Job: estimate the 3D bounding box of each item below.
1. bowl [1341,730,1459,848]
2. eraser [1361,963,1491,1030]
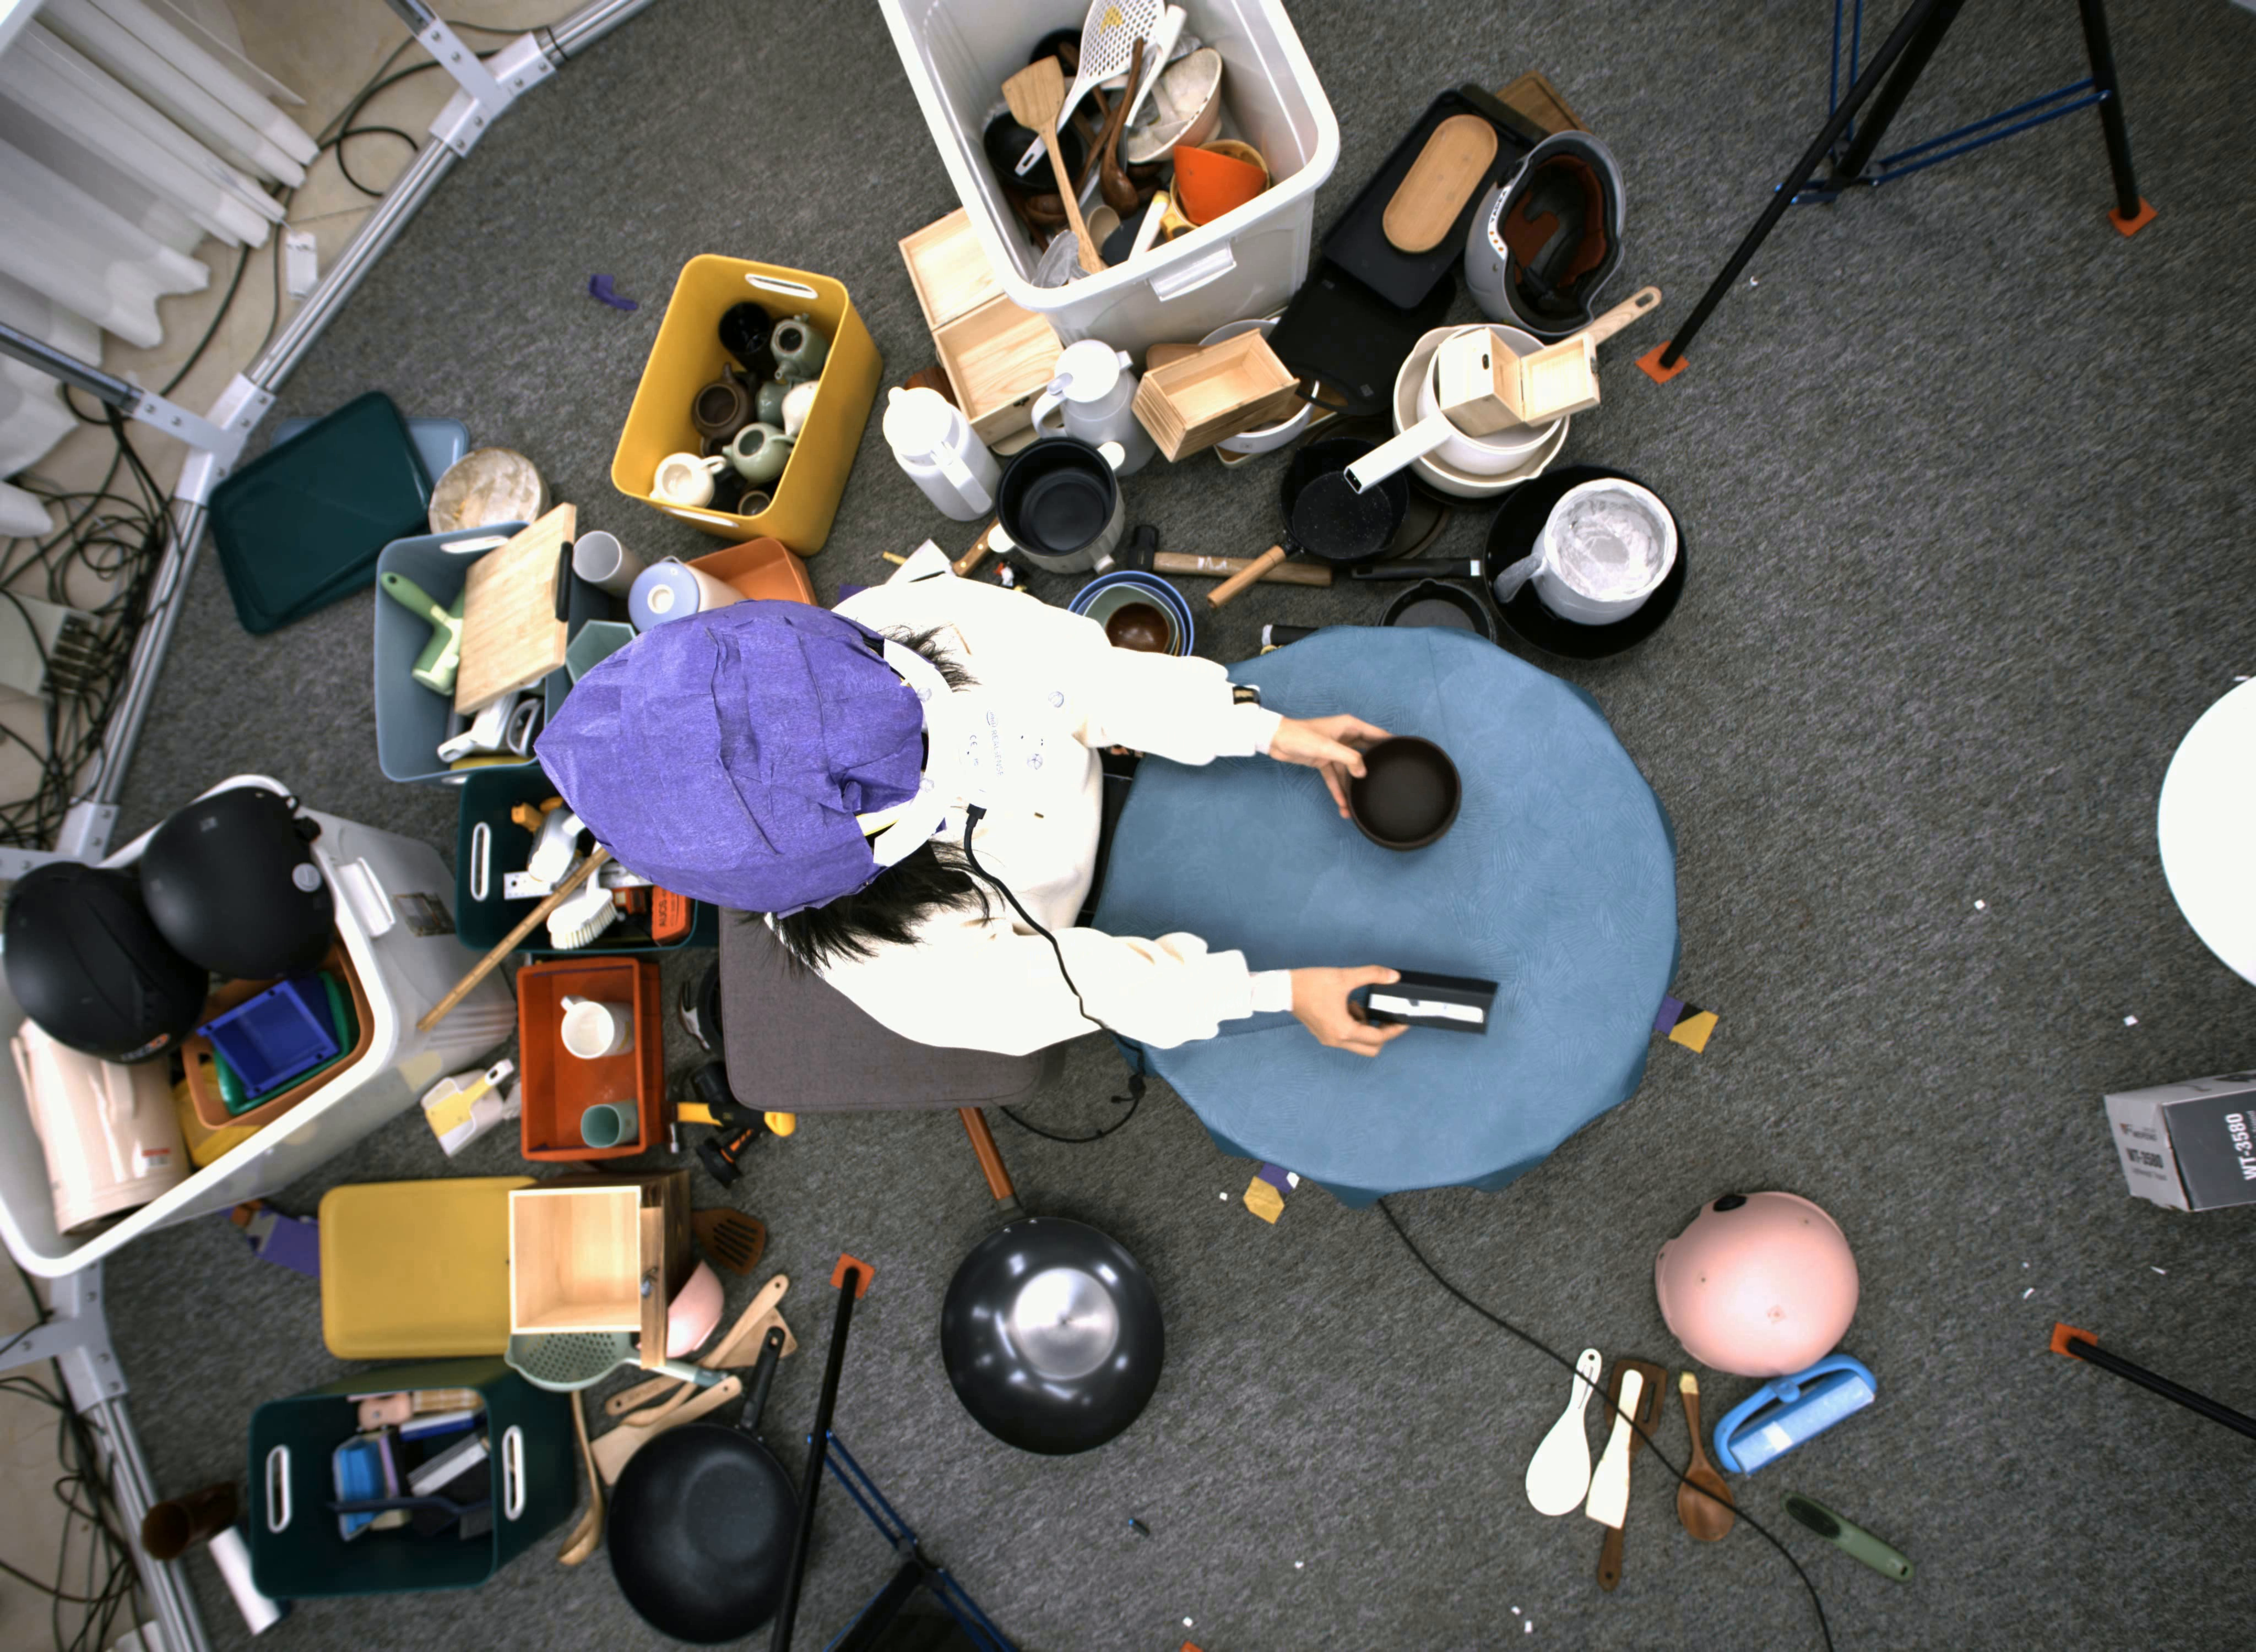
[{"bbox_3d":[0.279,-0.035,1.408,0.118,0.070,0.117,-3,81,15],"label":"bowl"},{"bbox_3d":[0.300,0.170,1.394,0.126,0.030,0.055,6,121,8],"label":"eraser"}]
